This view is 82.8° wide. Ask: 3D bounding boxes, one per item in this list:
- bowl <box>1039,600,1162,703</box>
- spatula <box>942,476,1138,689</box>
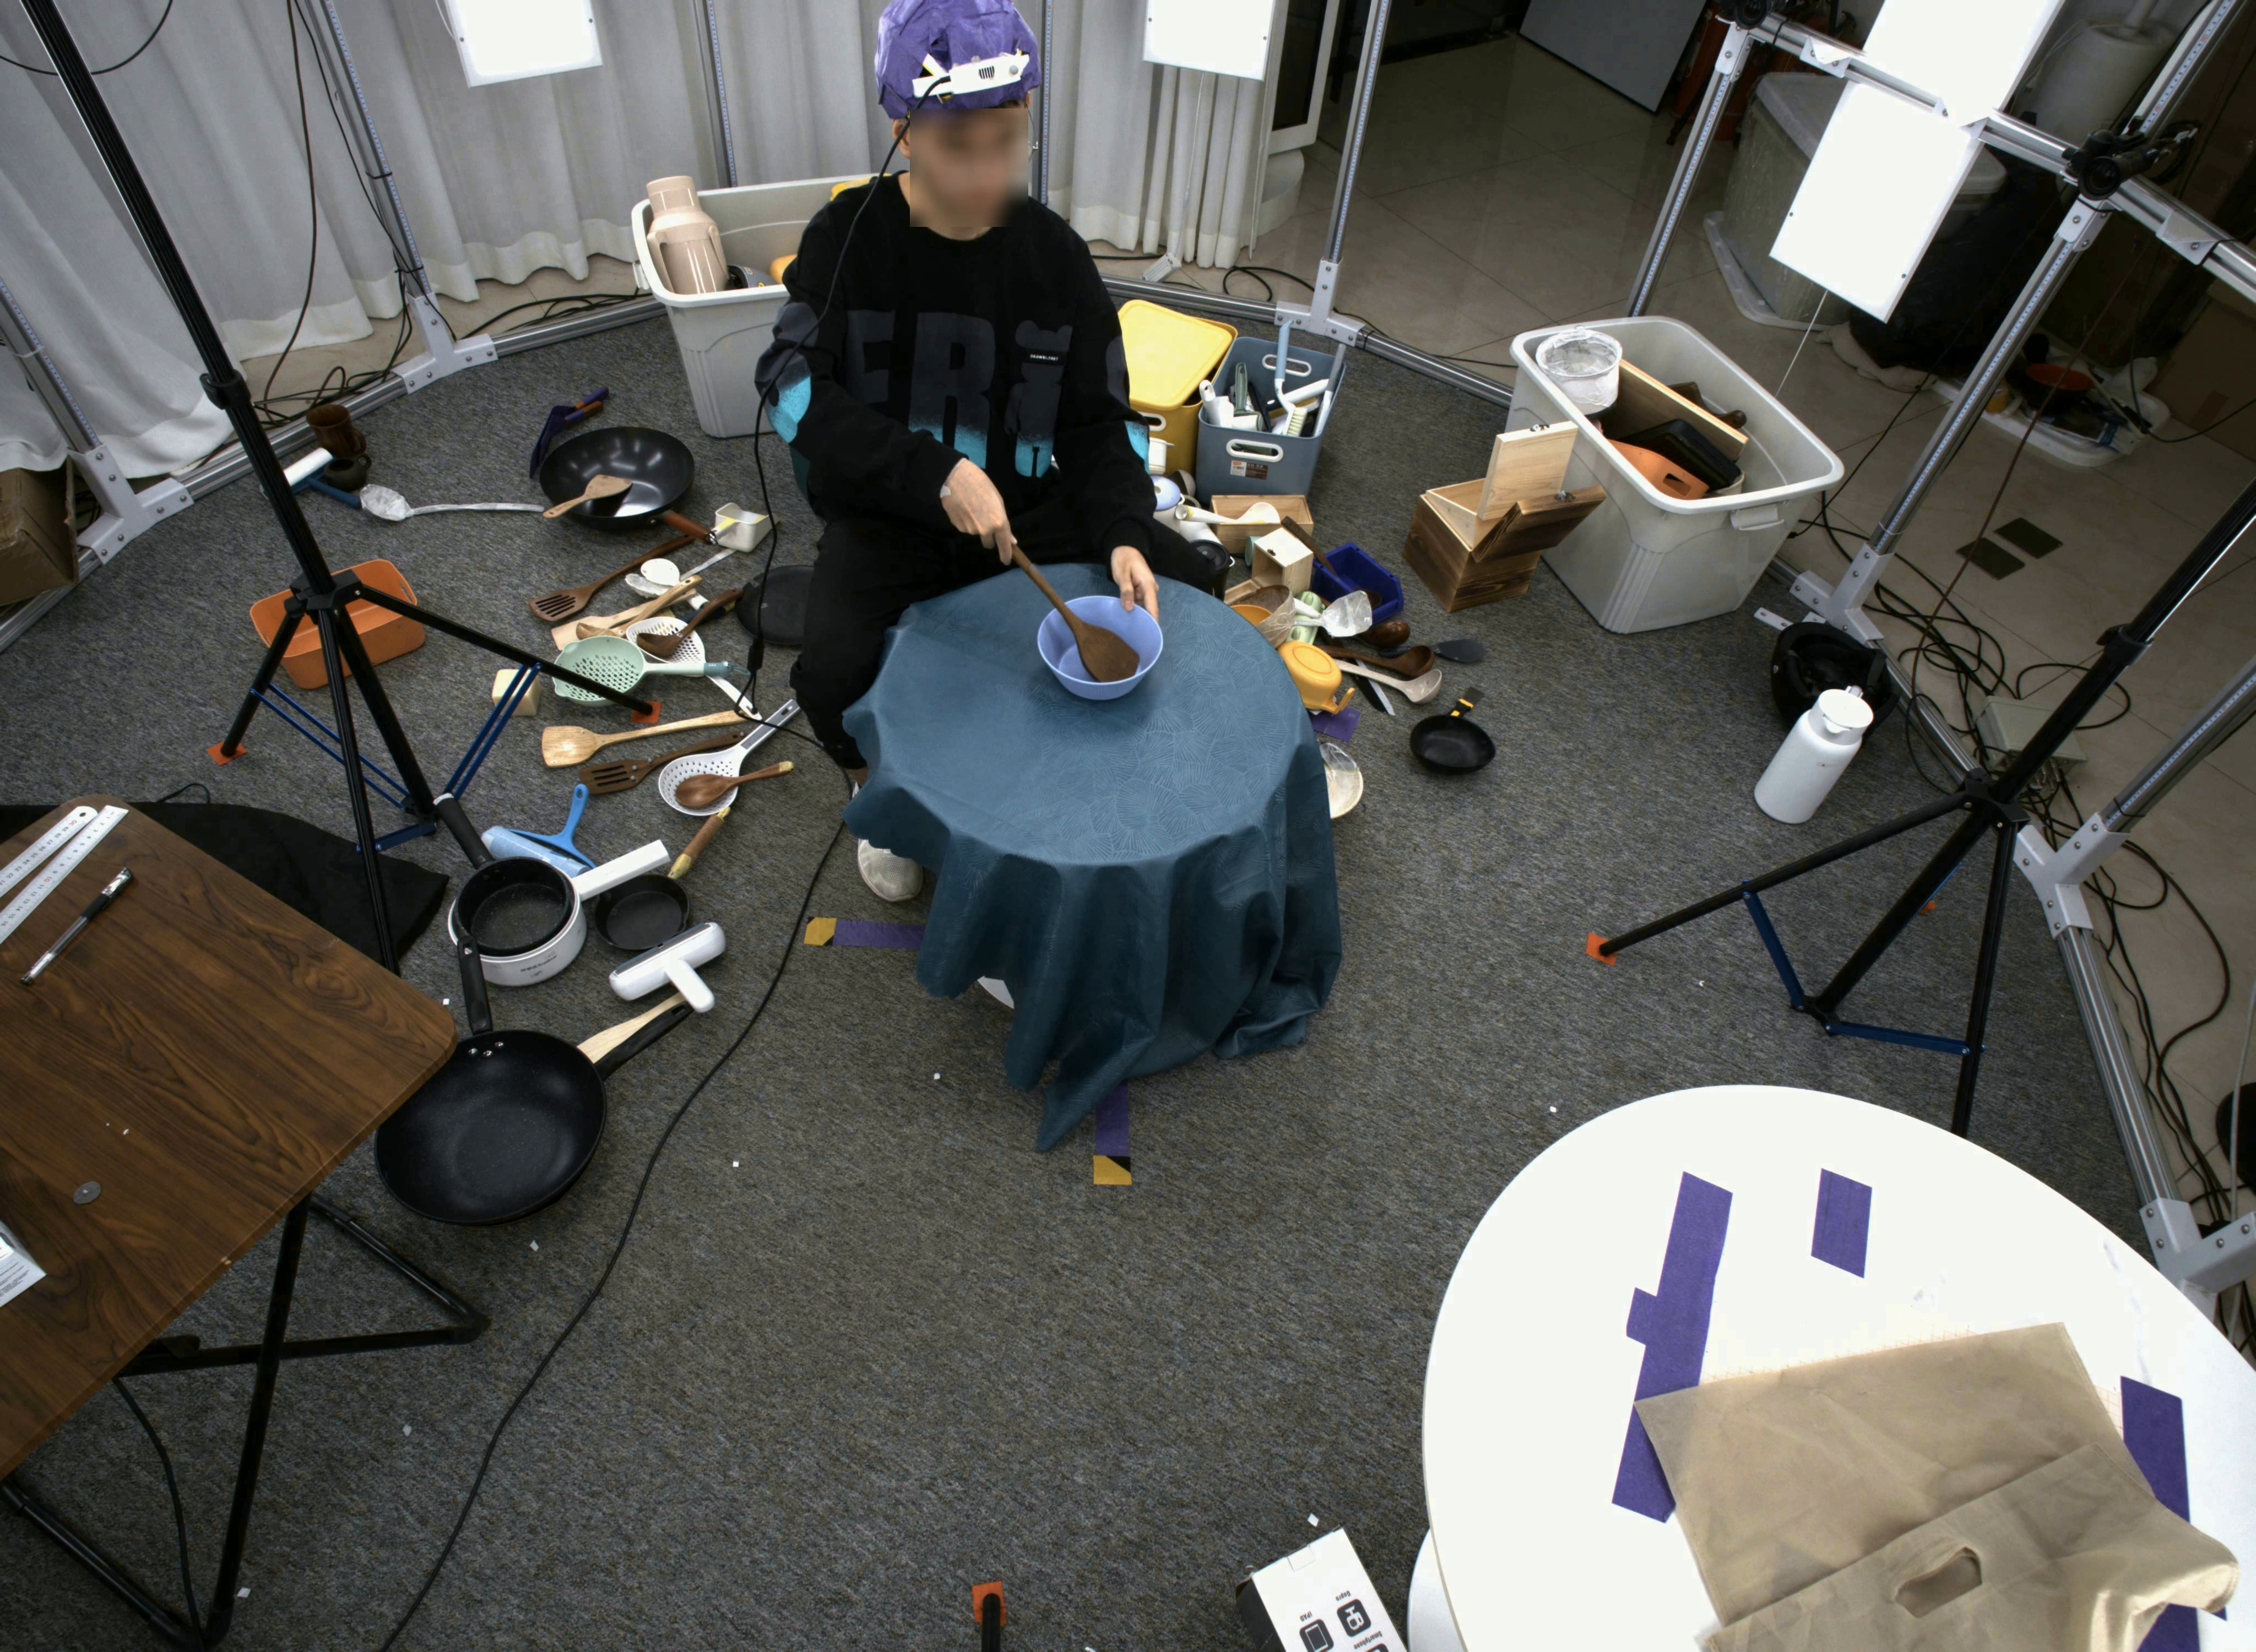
[{"bbox_3d":[-0.038,-0.241,1.848,0.176,0.068,0.180,-1,53,0],"label":"bowl"},{"bbox_3d":[-0.122,-0.339,1.802,0.381,0.015,0.098,47,48,-16],"label":"spatula"}]
